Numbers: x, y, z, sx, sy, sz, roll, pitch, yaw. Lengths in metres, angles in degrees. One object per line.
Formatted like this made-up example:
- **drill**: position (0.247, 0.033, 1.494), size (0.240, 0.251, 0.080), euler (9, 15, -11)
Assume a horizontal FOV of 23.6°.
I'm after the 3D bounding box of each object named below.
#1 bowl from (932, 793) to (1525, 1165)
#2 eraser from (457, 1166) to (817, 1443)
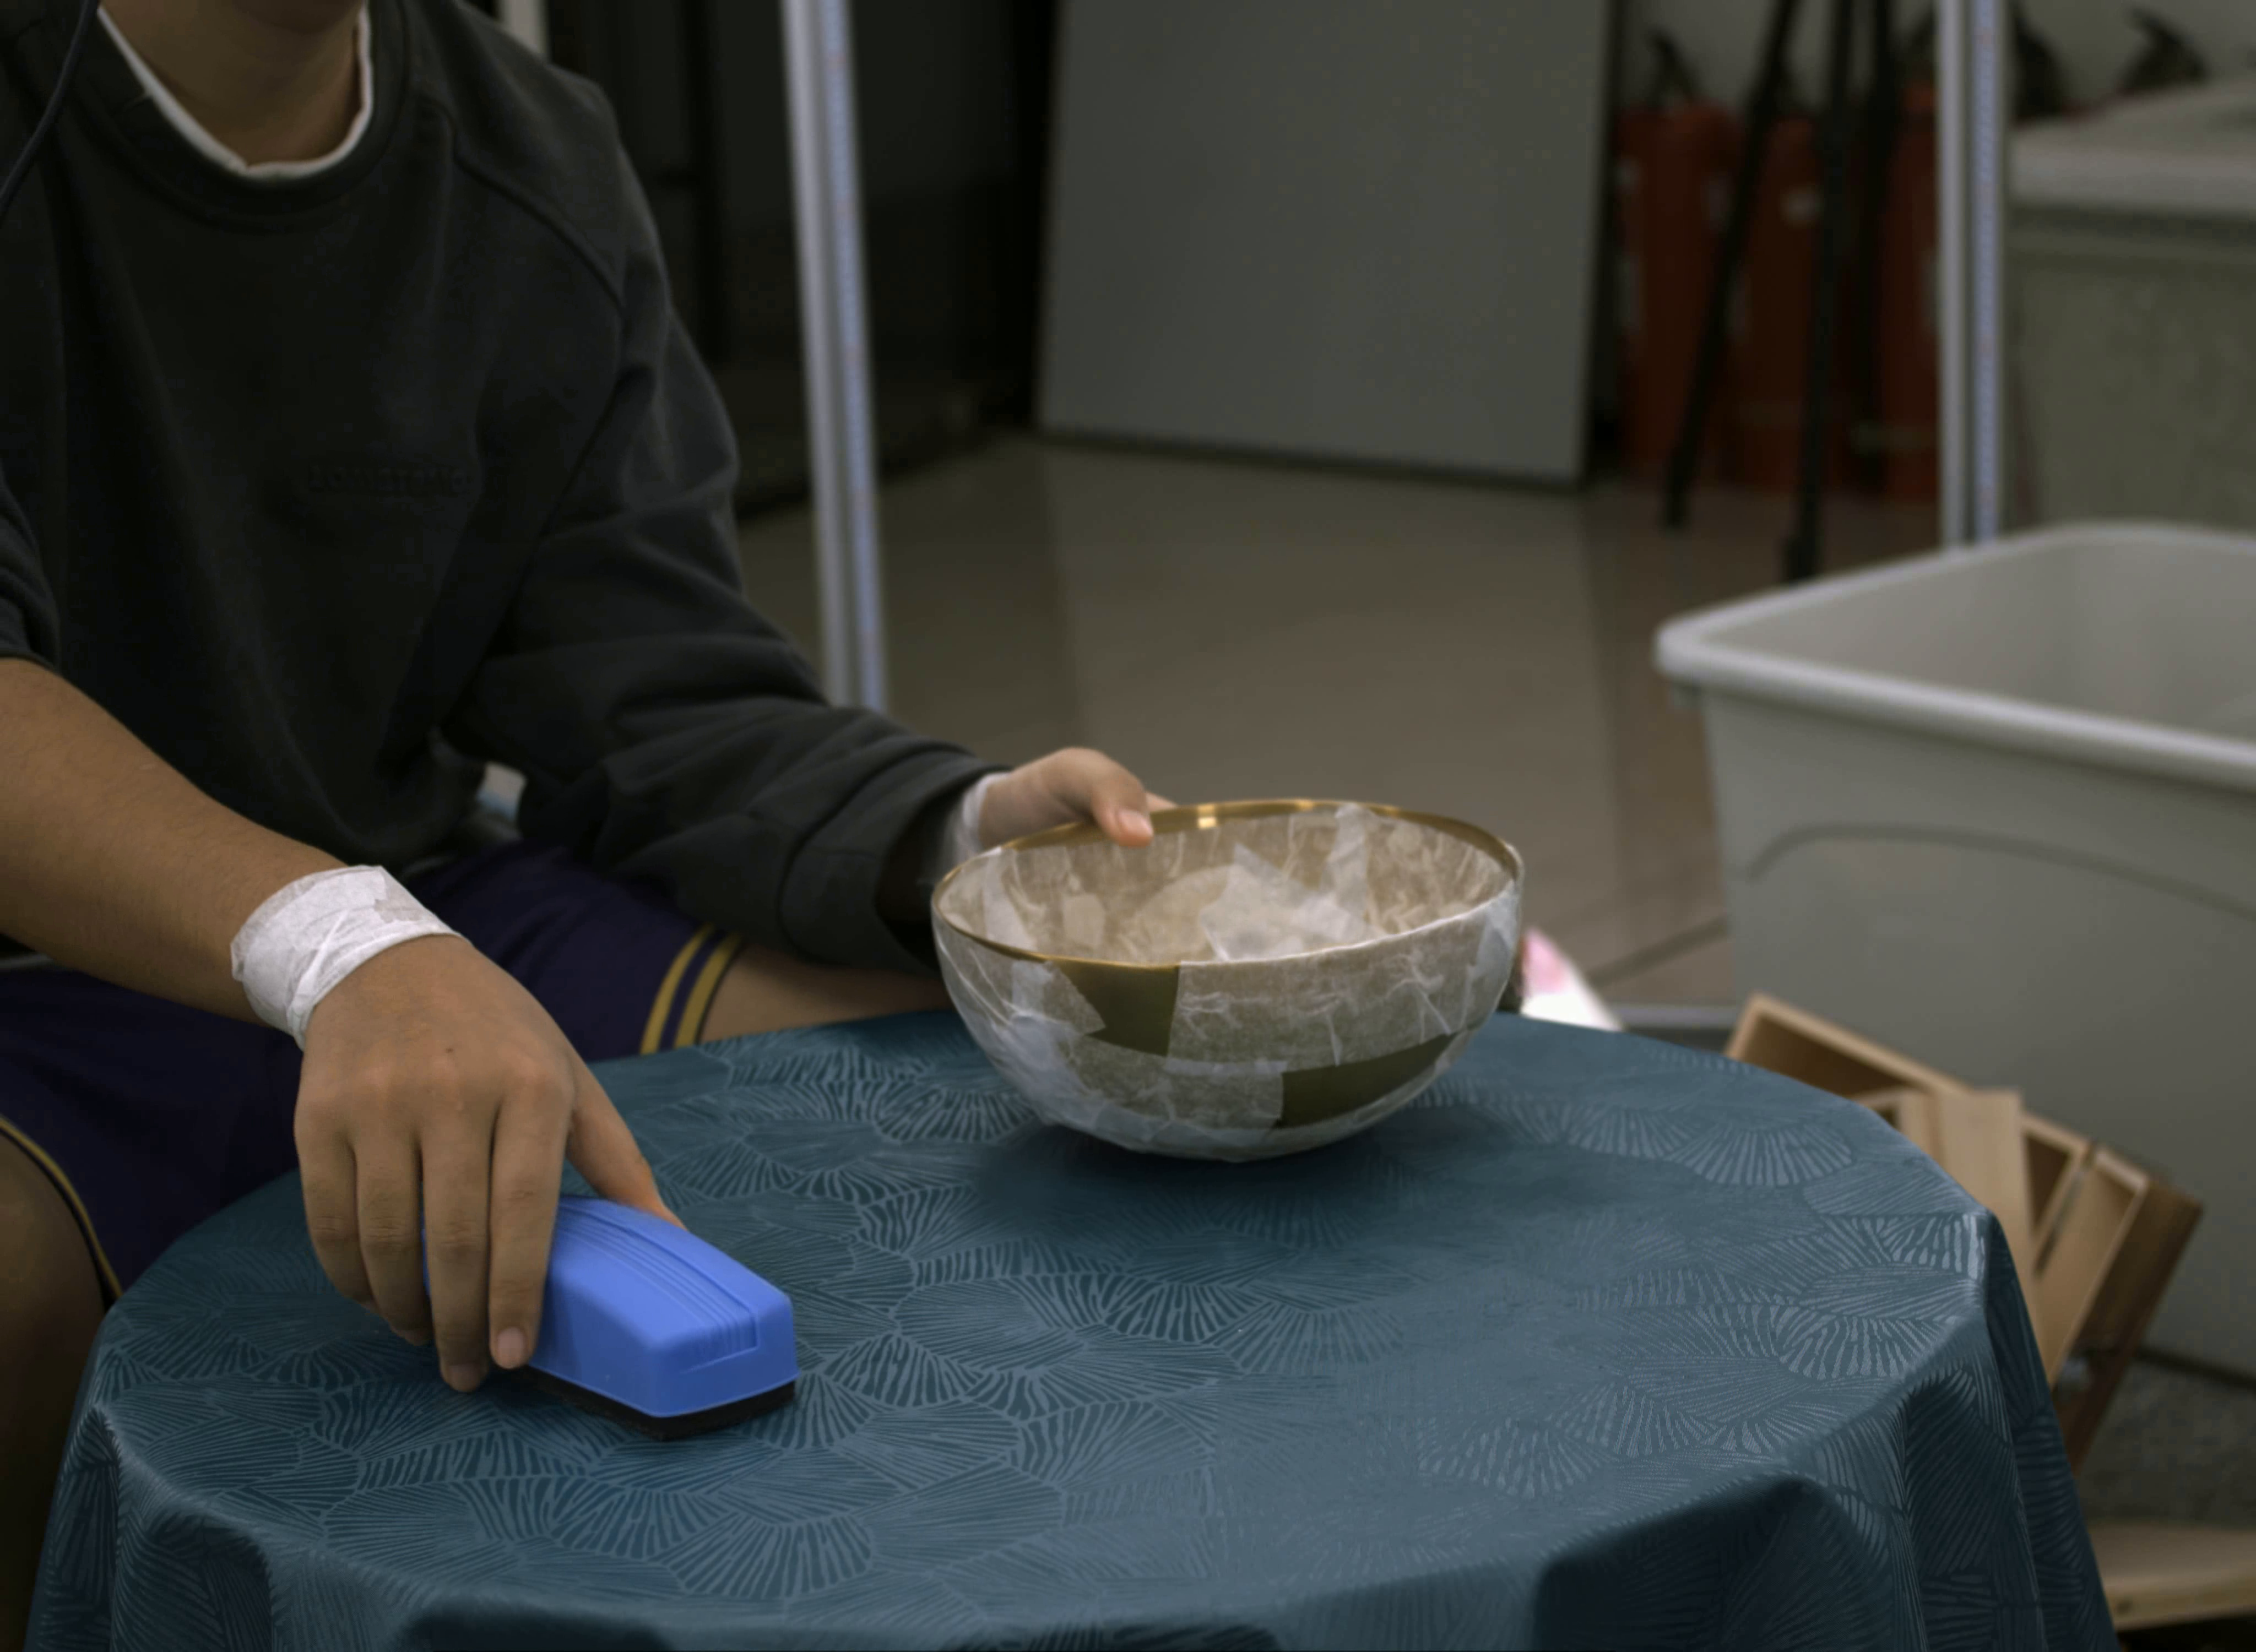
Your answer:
- **bowl**: position (0.035, 0.058, 1.816), size (0.212, 0.095, 0.215), euler (-5, 15, 0)
- **eraser**: position (-0.151, 0.138, 1.637), size (0.053, 0.048, 0.164), euler (-17, 19, -25)
